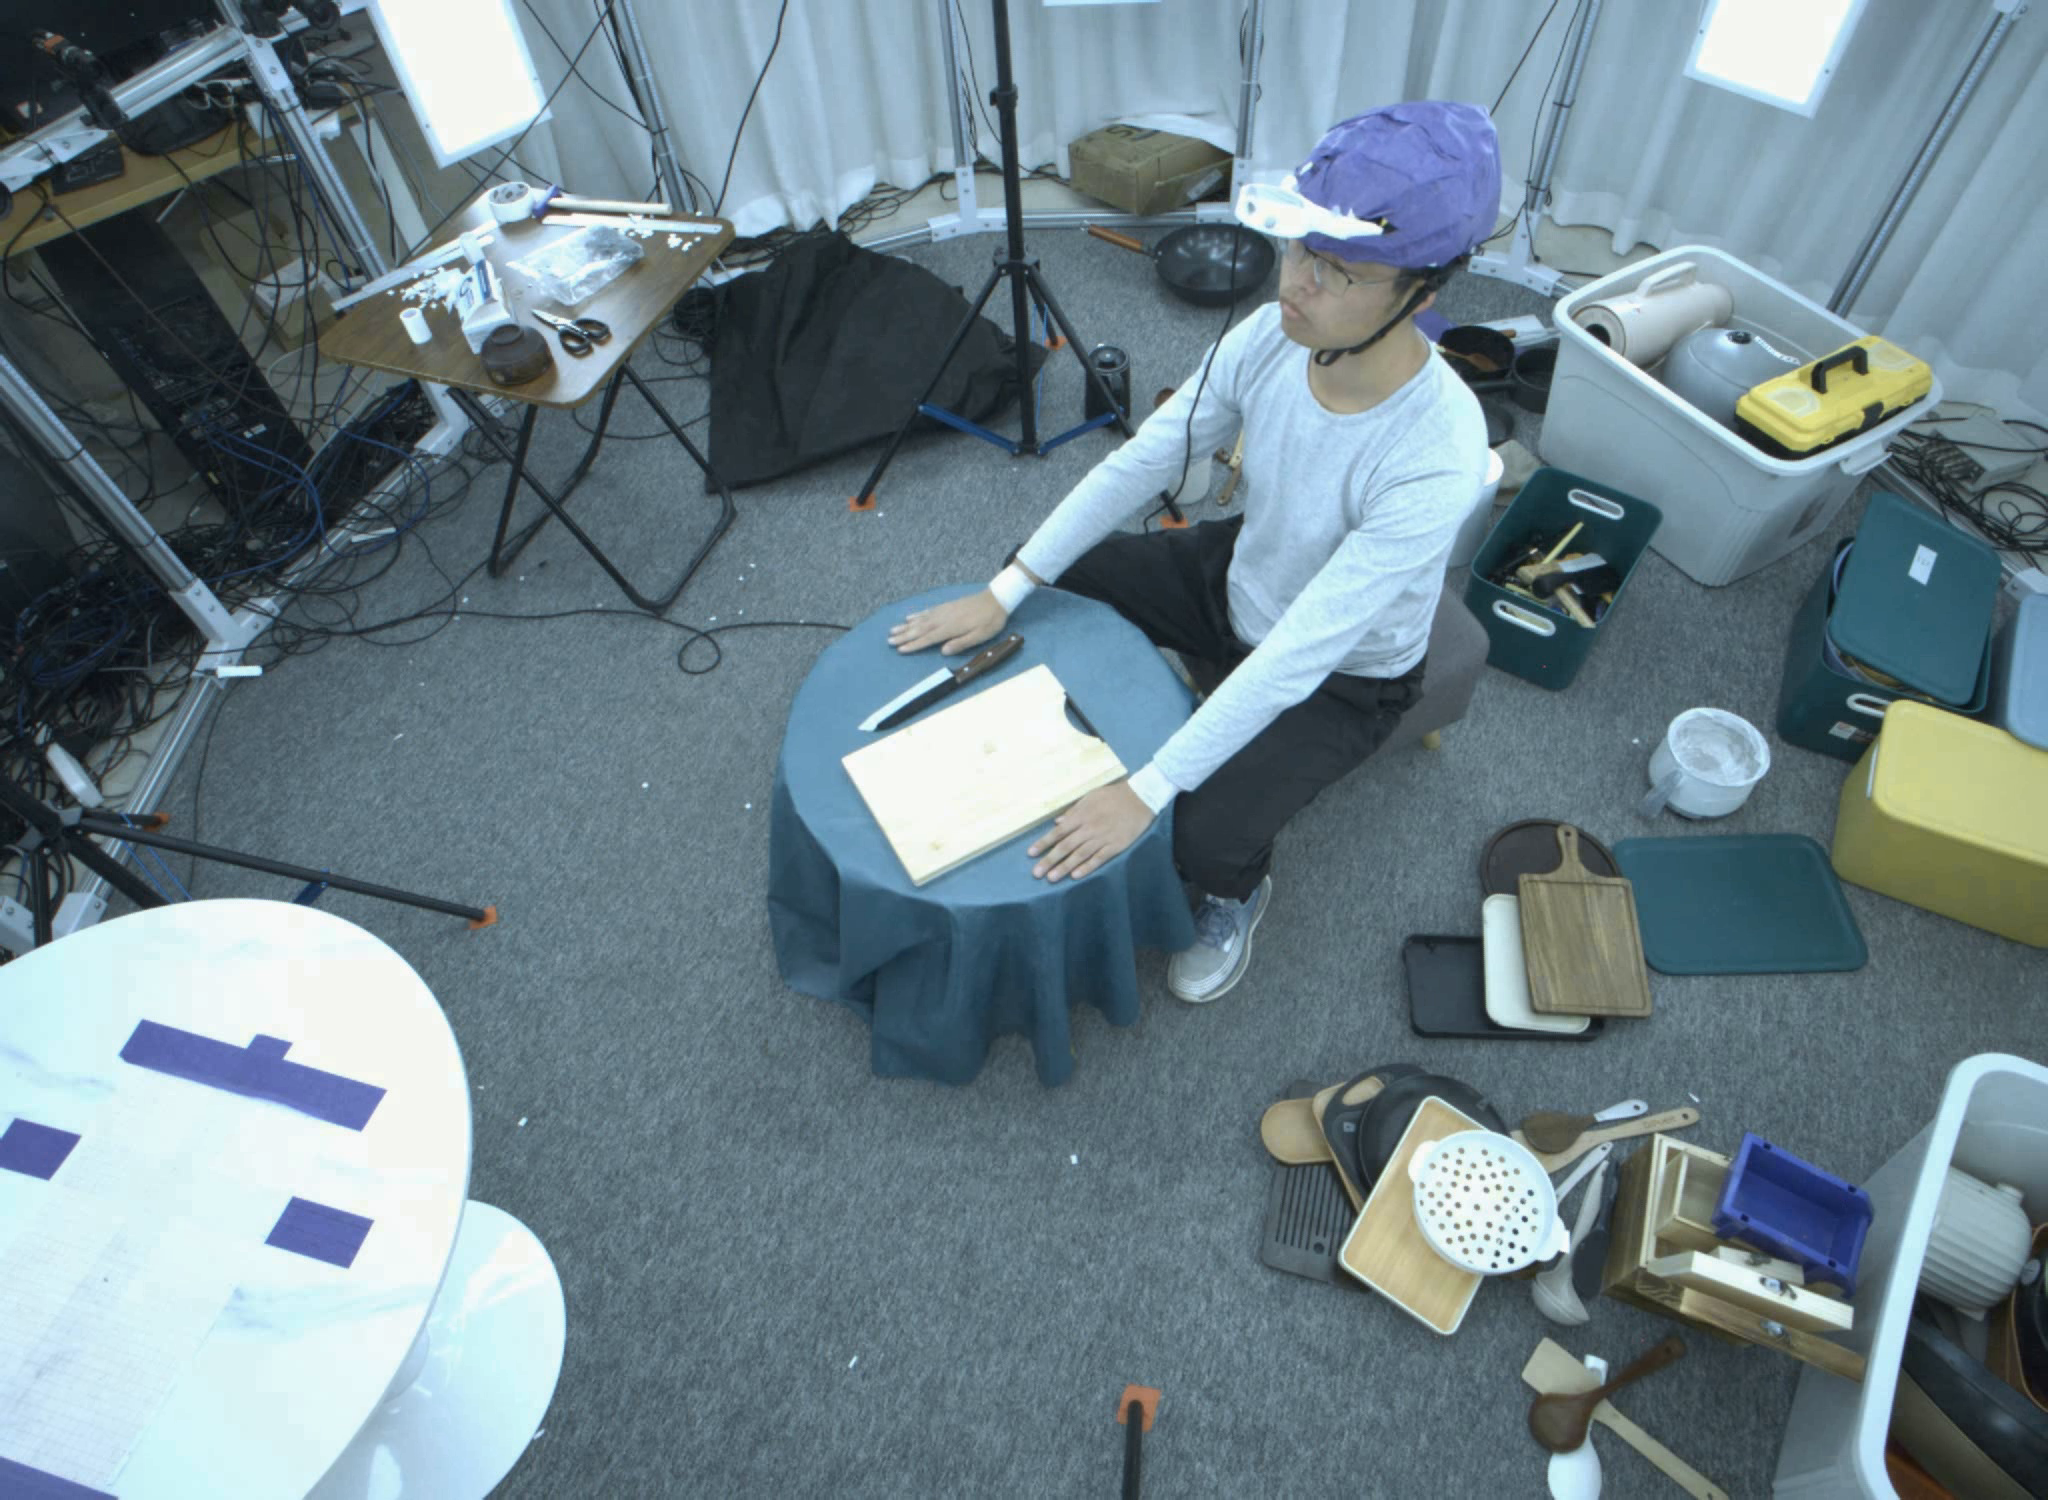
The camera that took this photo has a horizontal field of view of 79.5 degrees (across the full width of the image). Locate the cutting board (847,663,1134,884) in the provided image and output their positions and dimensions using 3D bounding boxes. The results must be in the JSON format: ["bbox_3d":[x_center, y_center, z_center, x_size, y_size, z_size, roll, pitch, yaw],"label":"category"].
[{"bbox_3d":[-0.053,0.025,1.769,0.351,0.024,0.246,-26,58,-17],"label":"cutting board"}]

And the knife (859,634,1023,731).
[{"bbox_3d":[-0.125,-0.102,1.862,0.291,0.020,0.049,-31,54,-16],"label":"knife"}]
